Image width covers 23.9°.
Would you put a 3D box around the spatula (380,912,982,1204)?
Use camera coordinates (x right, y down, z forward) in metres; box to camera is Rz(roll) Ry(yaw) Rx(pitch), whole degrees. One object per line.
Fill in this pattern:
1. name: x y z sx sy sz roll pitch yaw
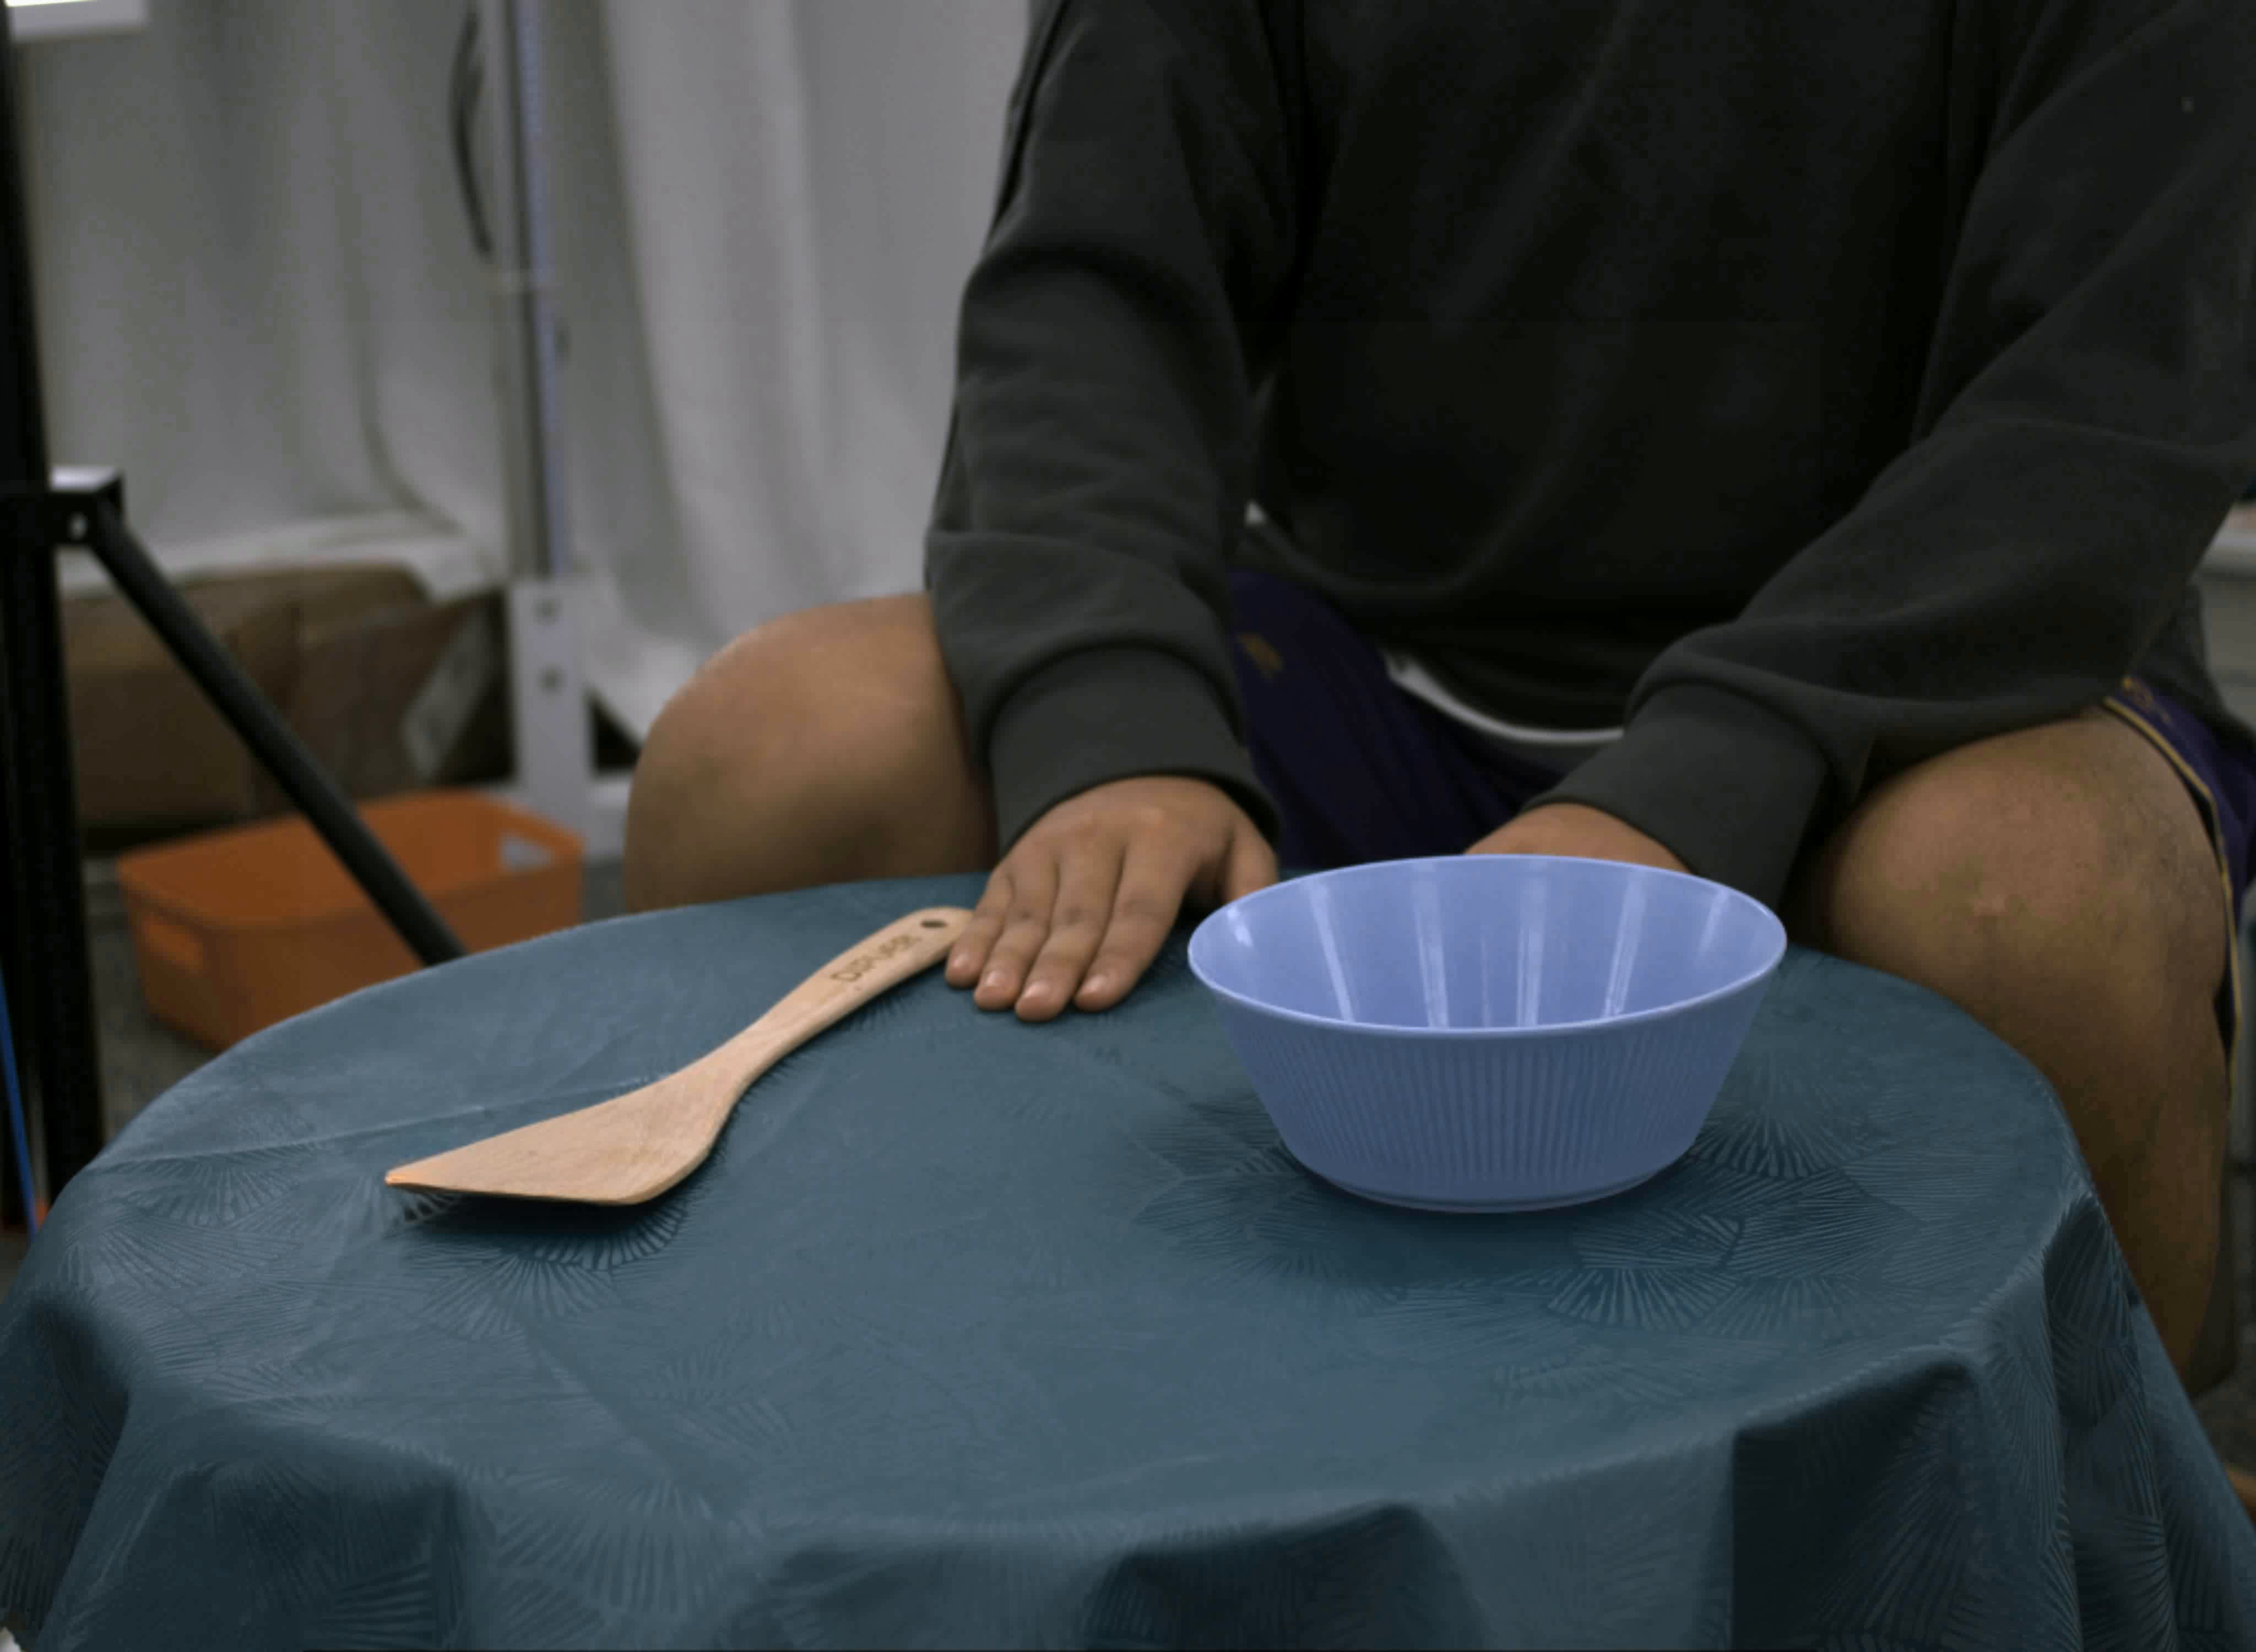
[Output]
1. spatula: -0.121 0.071 1.683 0.081 0.016 0.323 4 17 24

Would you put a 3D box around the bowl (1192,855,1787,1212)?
1. bowl: 0.107 0.064 1.570 0.175 0.070 0.177 -3 16 -1
